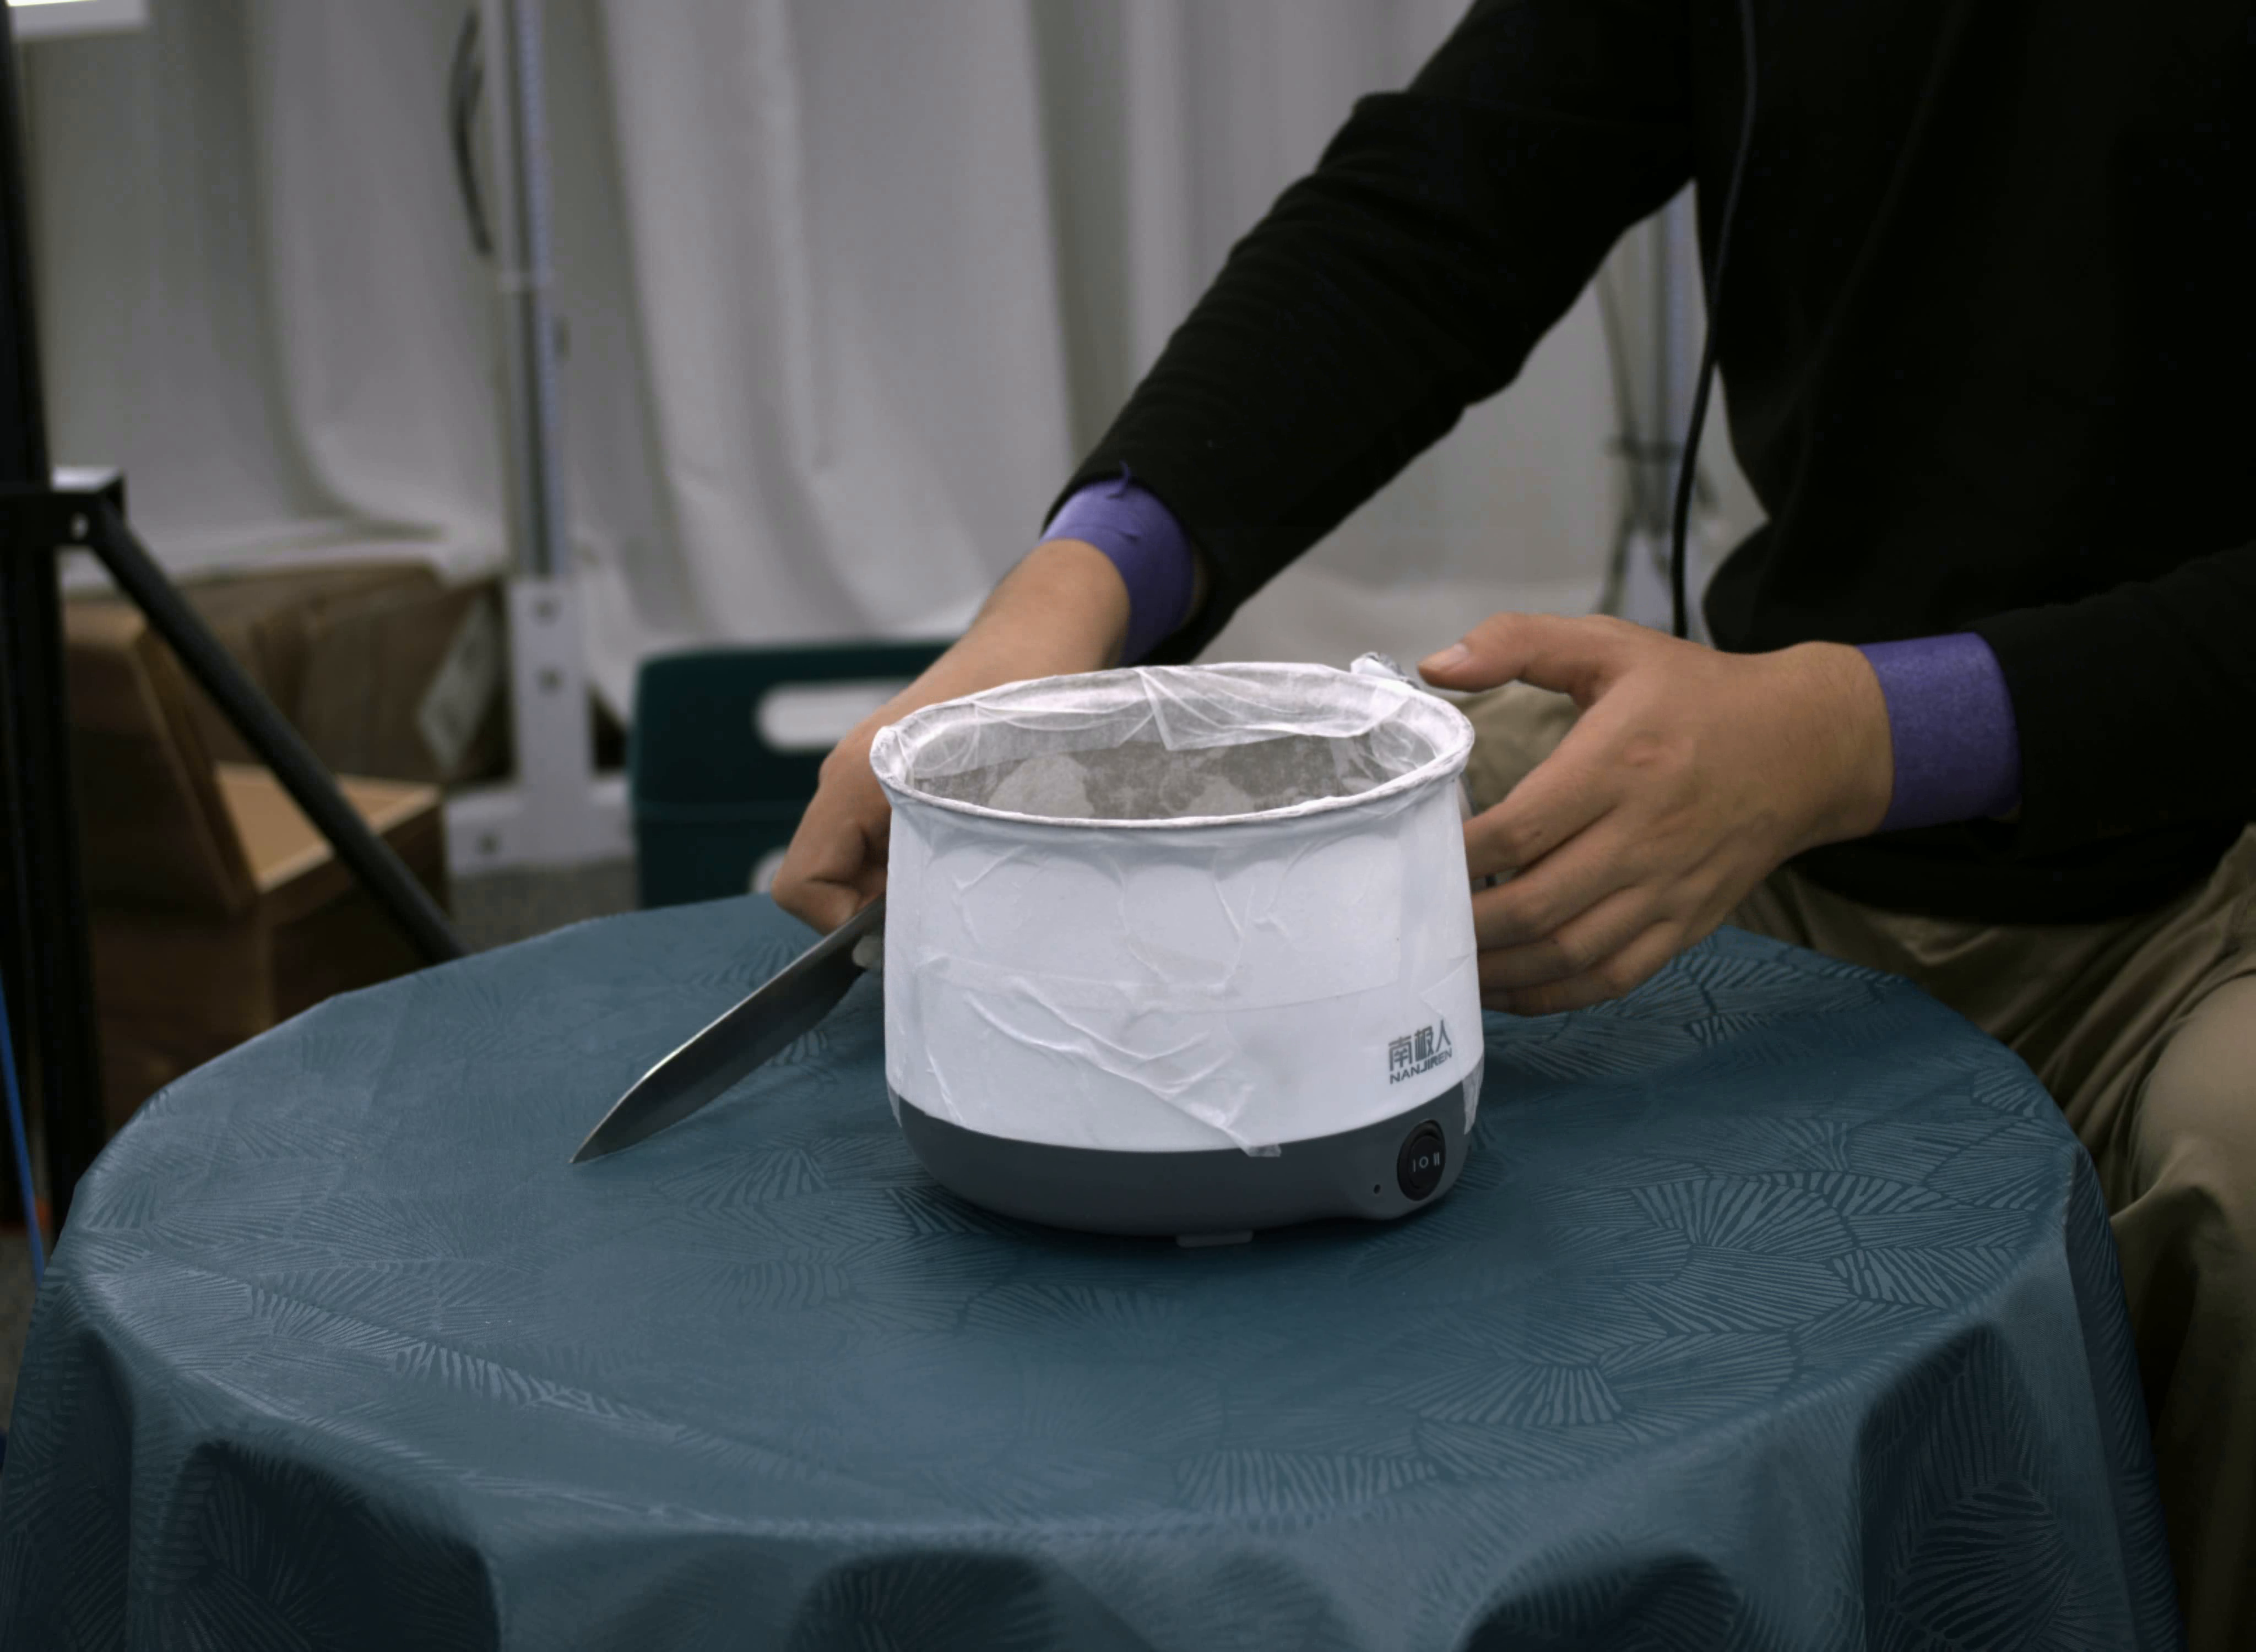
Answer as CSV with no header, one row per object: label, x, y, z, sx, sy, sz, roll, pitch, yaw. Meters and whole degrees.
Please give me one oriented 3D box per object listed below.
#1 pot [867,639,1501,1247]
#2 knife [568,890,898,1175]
pot,0.032,0.027,1.576,0.182,0.136,0.229,11,21,37
knife,-0.103,0.053,1.682,0.016,0.024,0.234,-11,17,41
